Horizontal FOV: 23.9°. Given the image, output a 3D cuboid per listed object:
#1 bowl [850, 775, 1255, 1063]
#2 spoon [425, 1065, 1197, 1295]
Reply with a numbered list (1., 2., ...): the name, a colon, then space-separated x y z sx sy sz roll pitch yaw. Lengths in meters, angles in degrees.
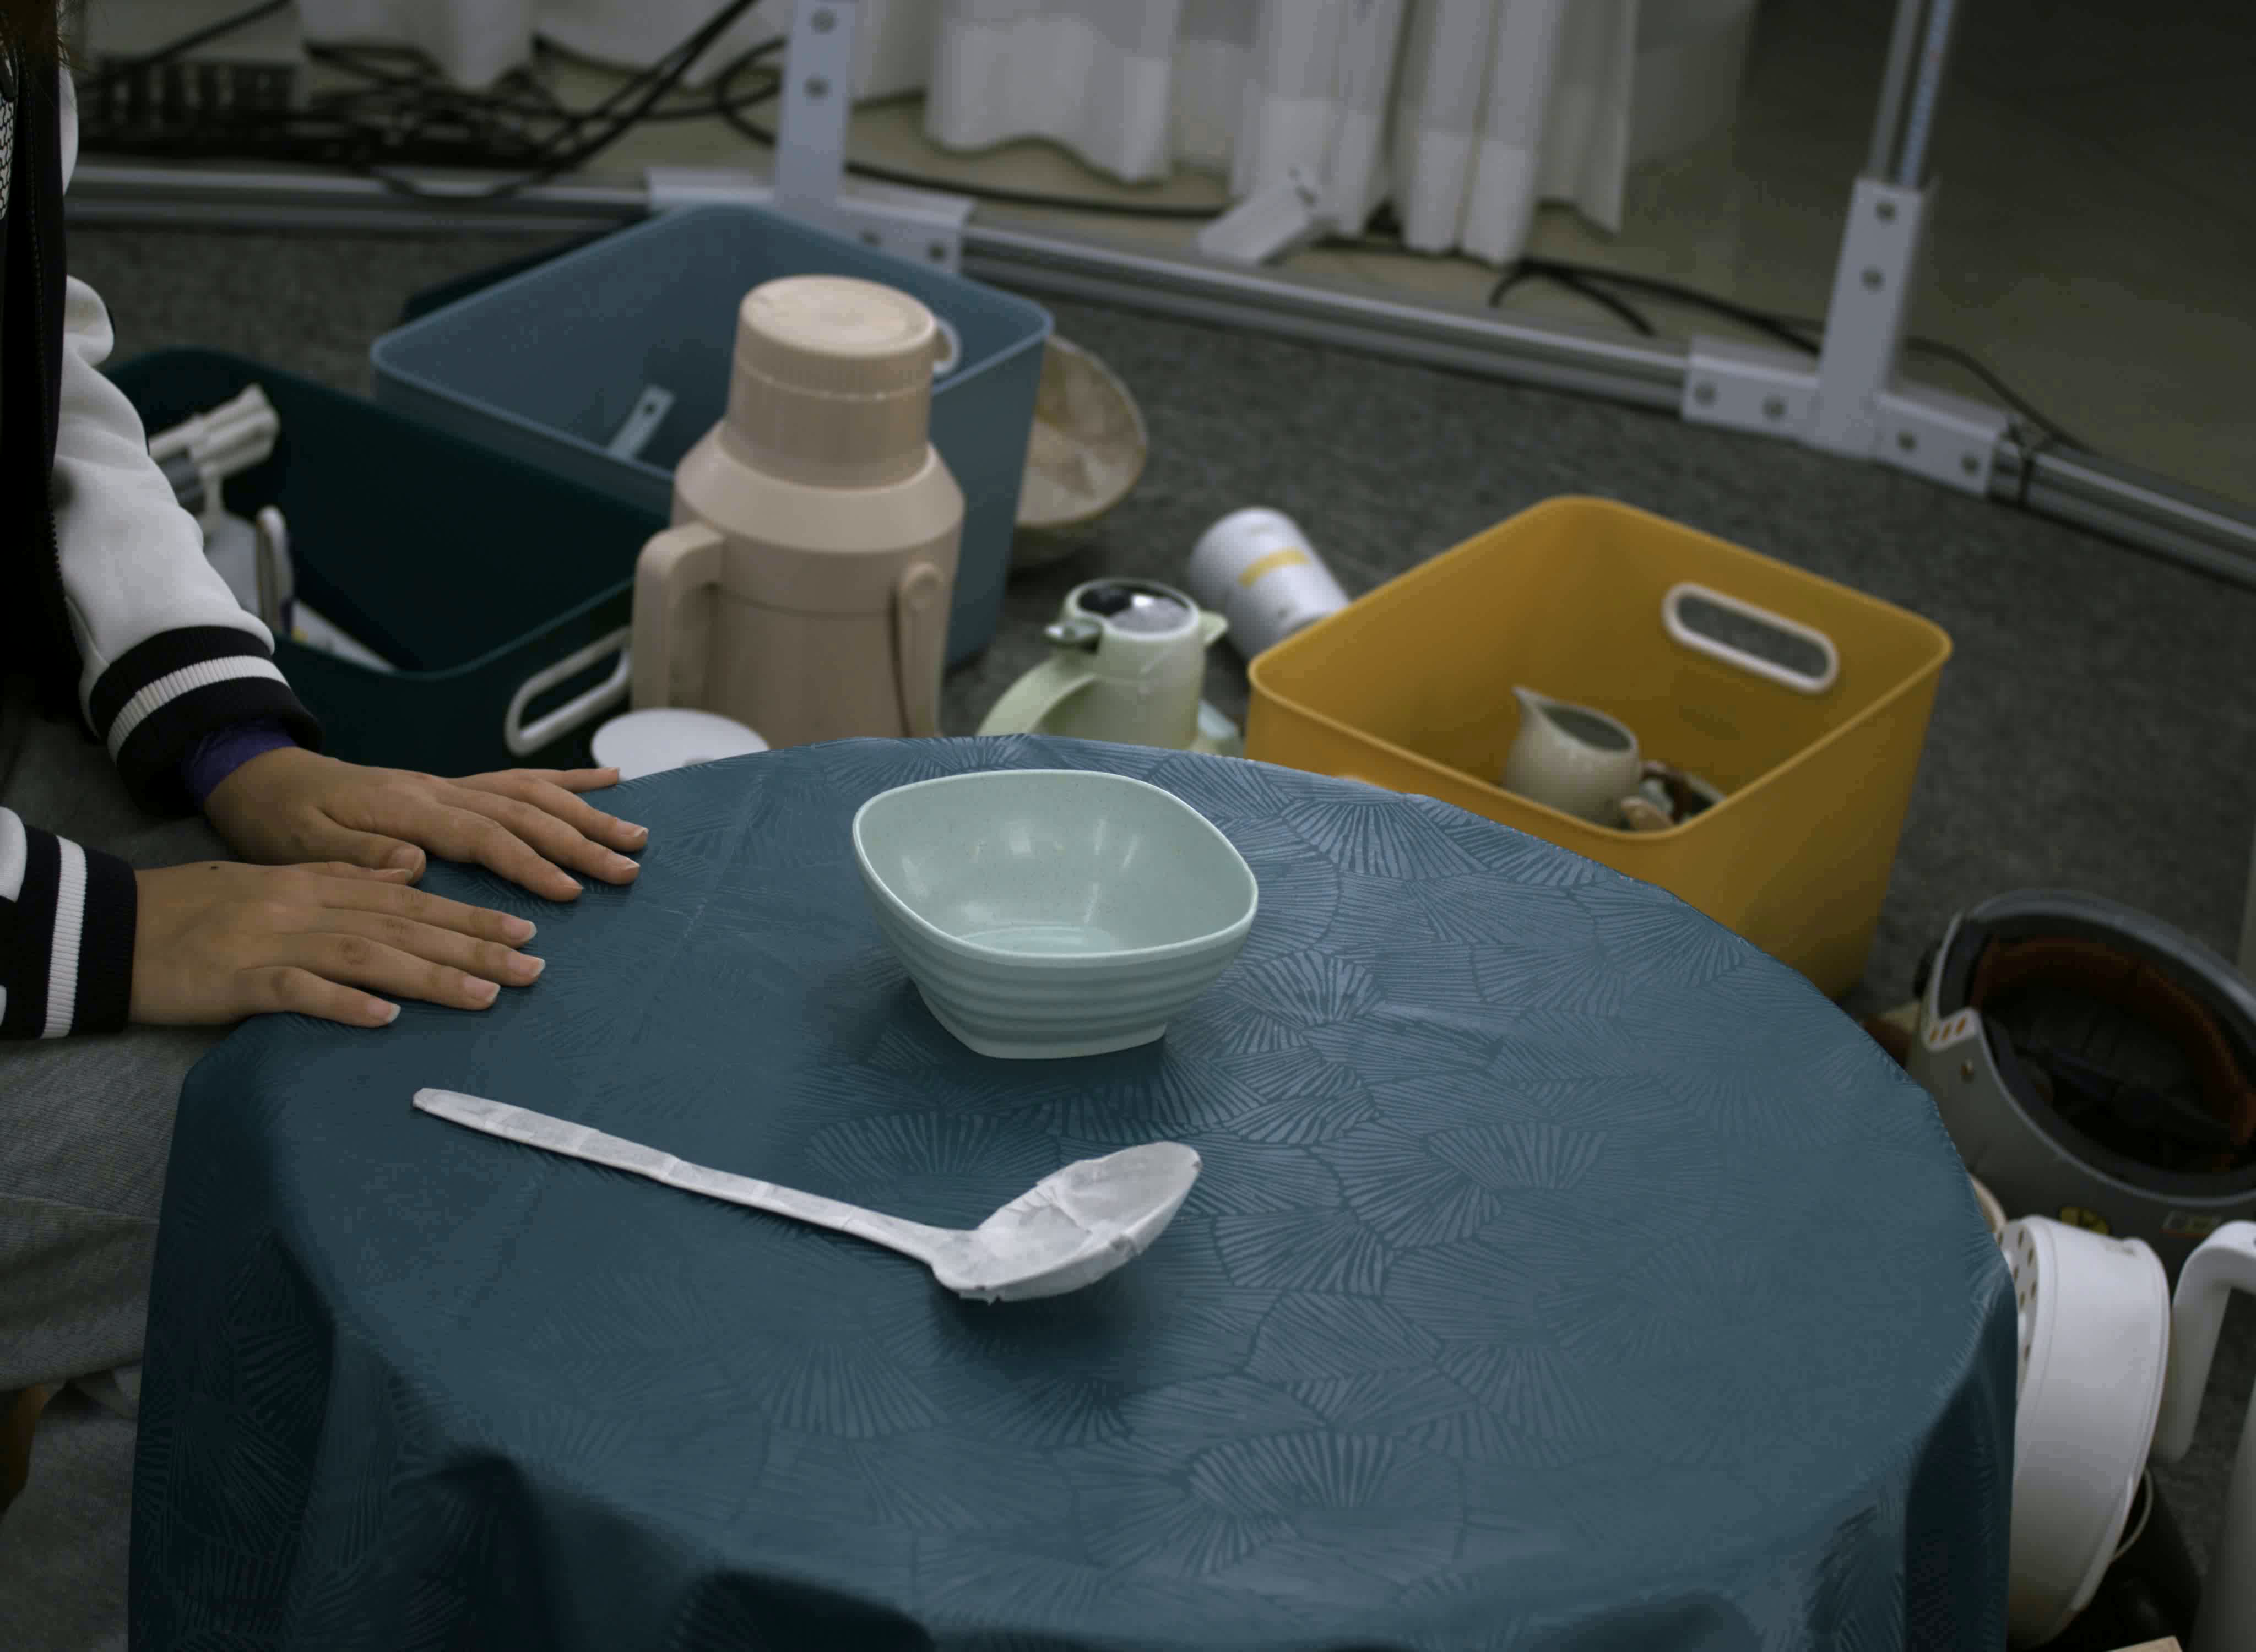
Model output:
1. bowl: -0.030 0.039 1.903 0.151 0.058 0.152 5 27 -3
2. spoon: -0.109 0.099 1.764 0.278 0.059 0.100 17 24 20
